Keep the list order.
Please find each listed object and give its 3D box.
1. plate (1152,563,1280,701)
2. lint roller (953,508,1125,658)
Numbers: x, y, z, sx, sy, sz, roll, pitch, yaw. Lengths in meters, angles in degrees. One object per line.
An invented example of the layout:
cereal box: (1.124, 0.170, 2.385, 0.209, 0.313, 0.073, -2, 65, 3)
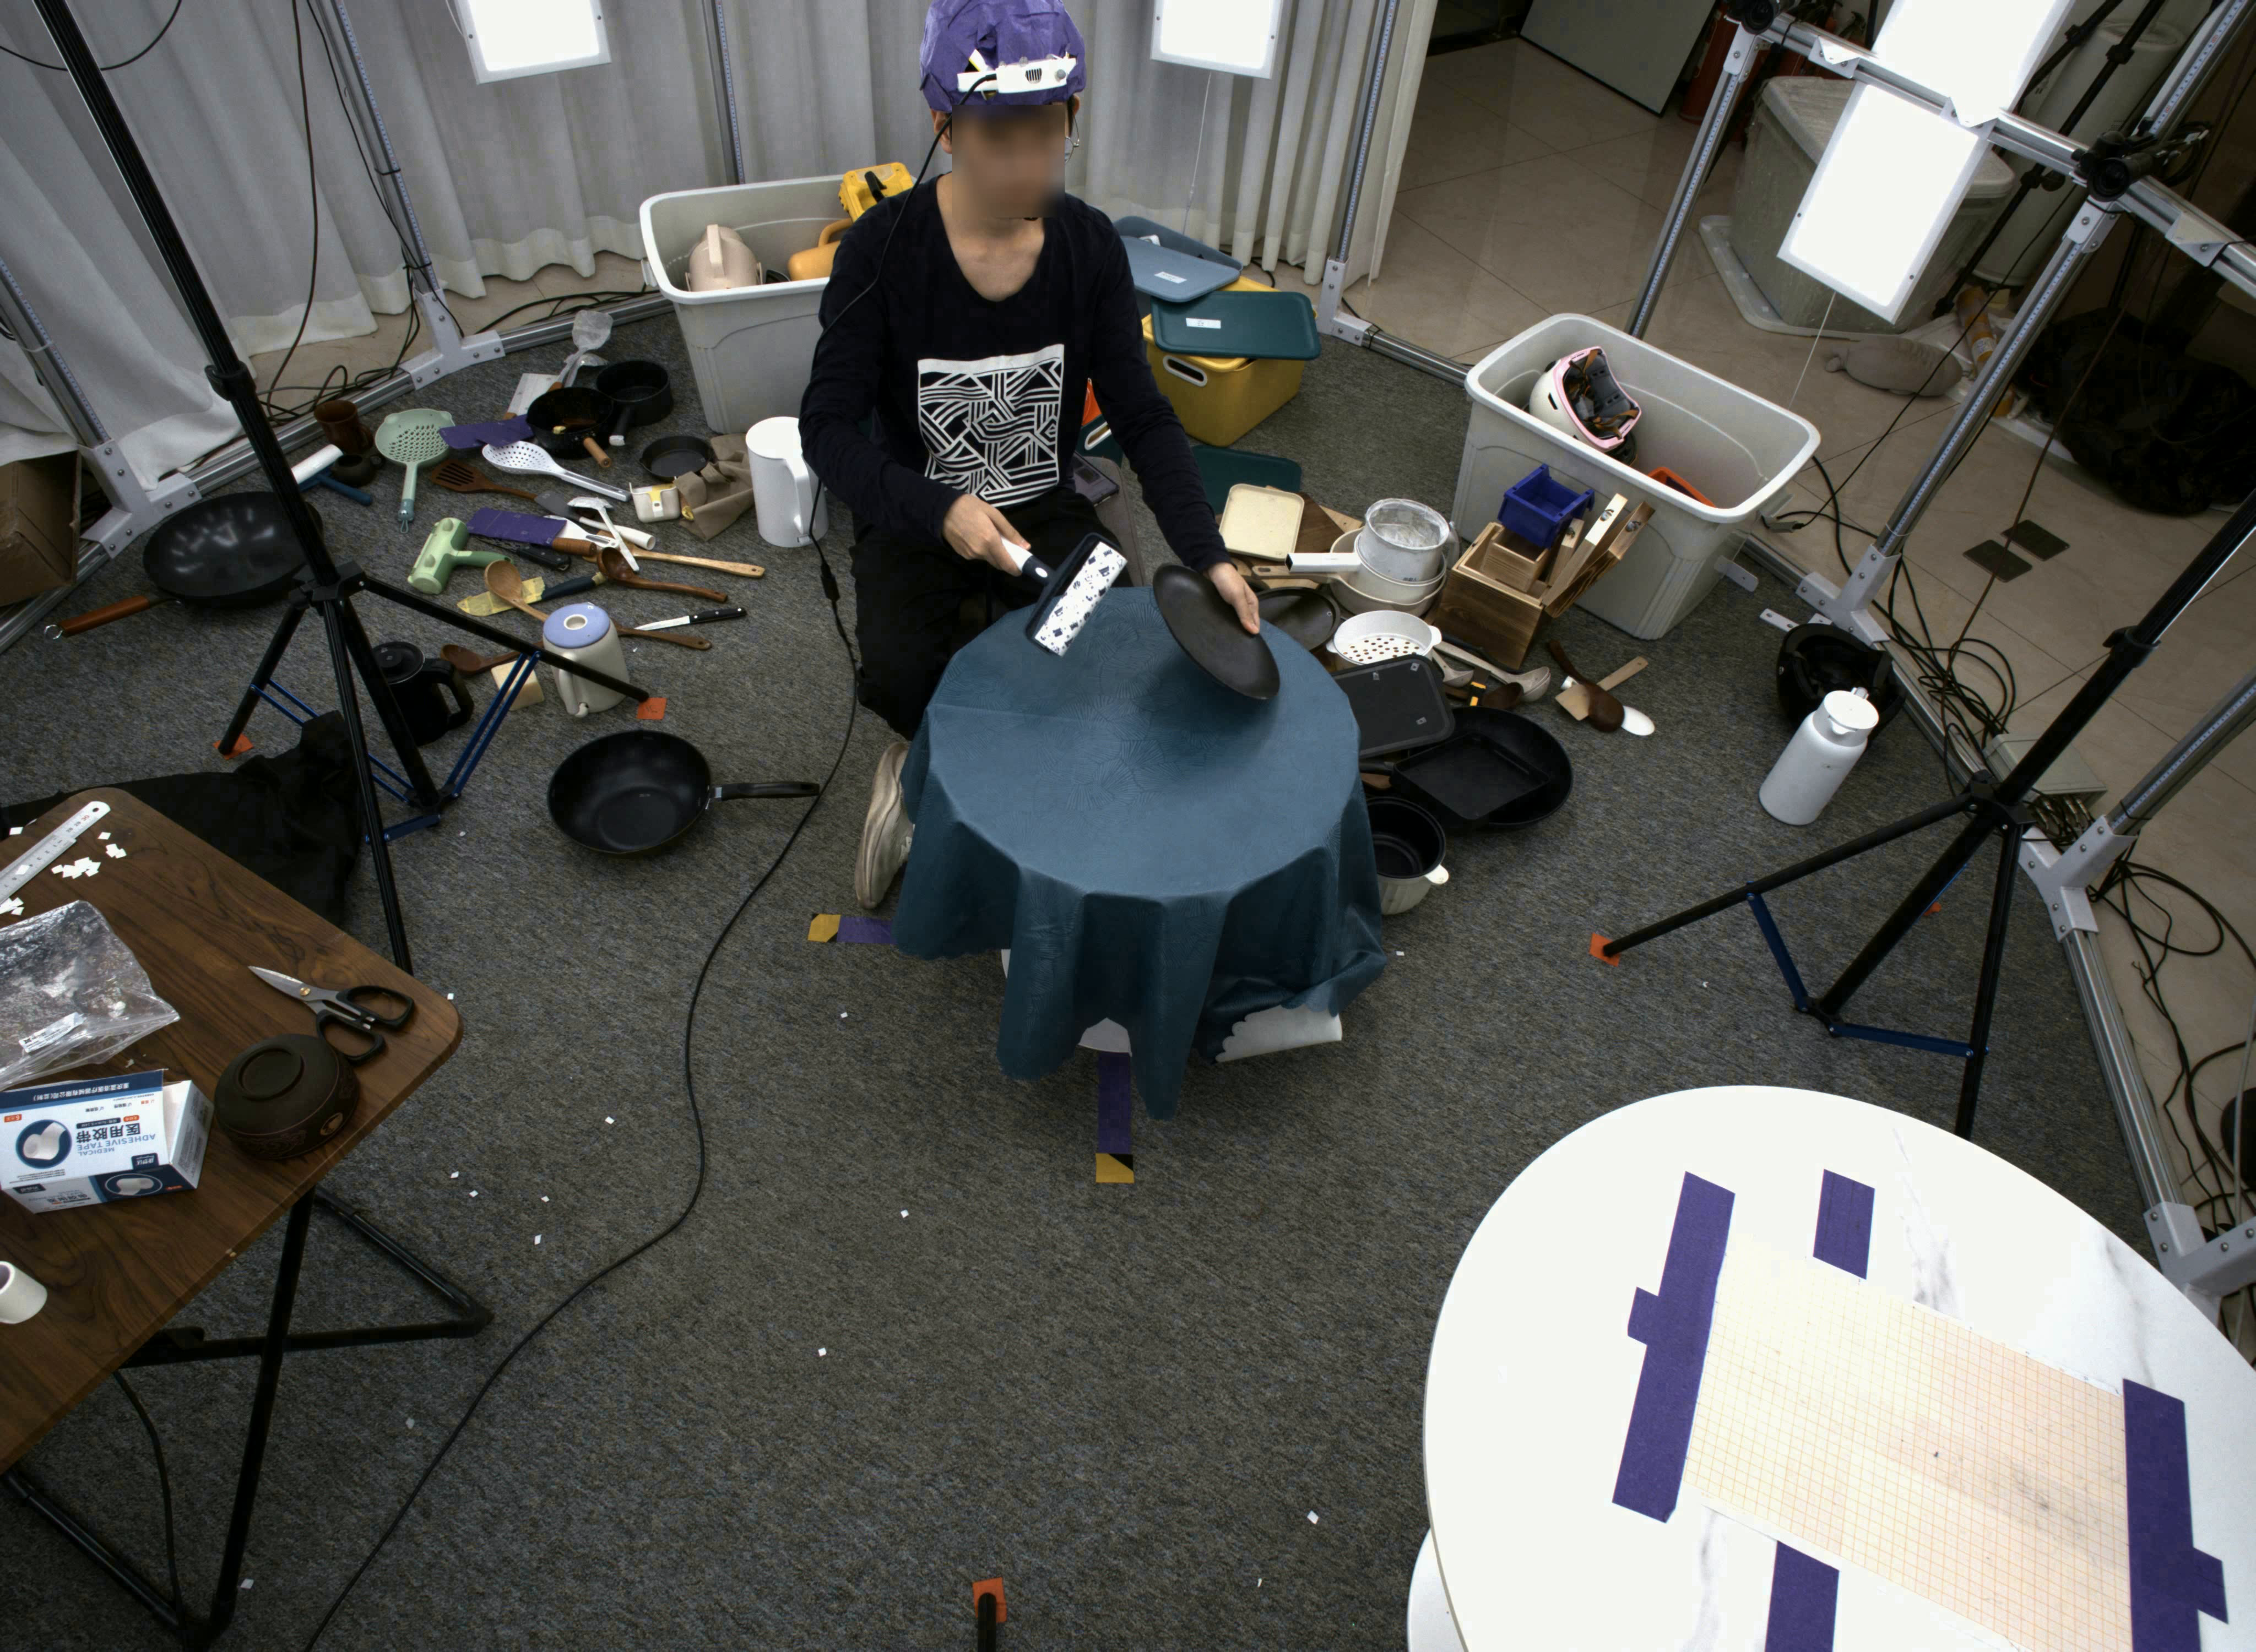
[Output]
plate: (0.119, -0.269, 1.804, 0.241, 0.023, 0.250, 30, 36, -26)
lint roller: (-0.147, -0.369, 1.793, 0.248, 0.050, 0.176, 35, 94, 11)
